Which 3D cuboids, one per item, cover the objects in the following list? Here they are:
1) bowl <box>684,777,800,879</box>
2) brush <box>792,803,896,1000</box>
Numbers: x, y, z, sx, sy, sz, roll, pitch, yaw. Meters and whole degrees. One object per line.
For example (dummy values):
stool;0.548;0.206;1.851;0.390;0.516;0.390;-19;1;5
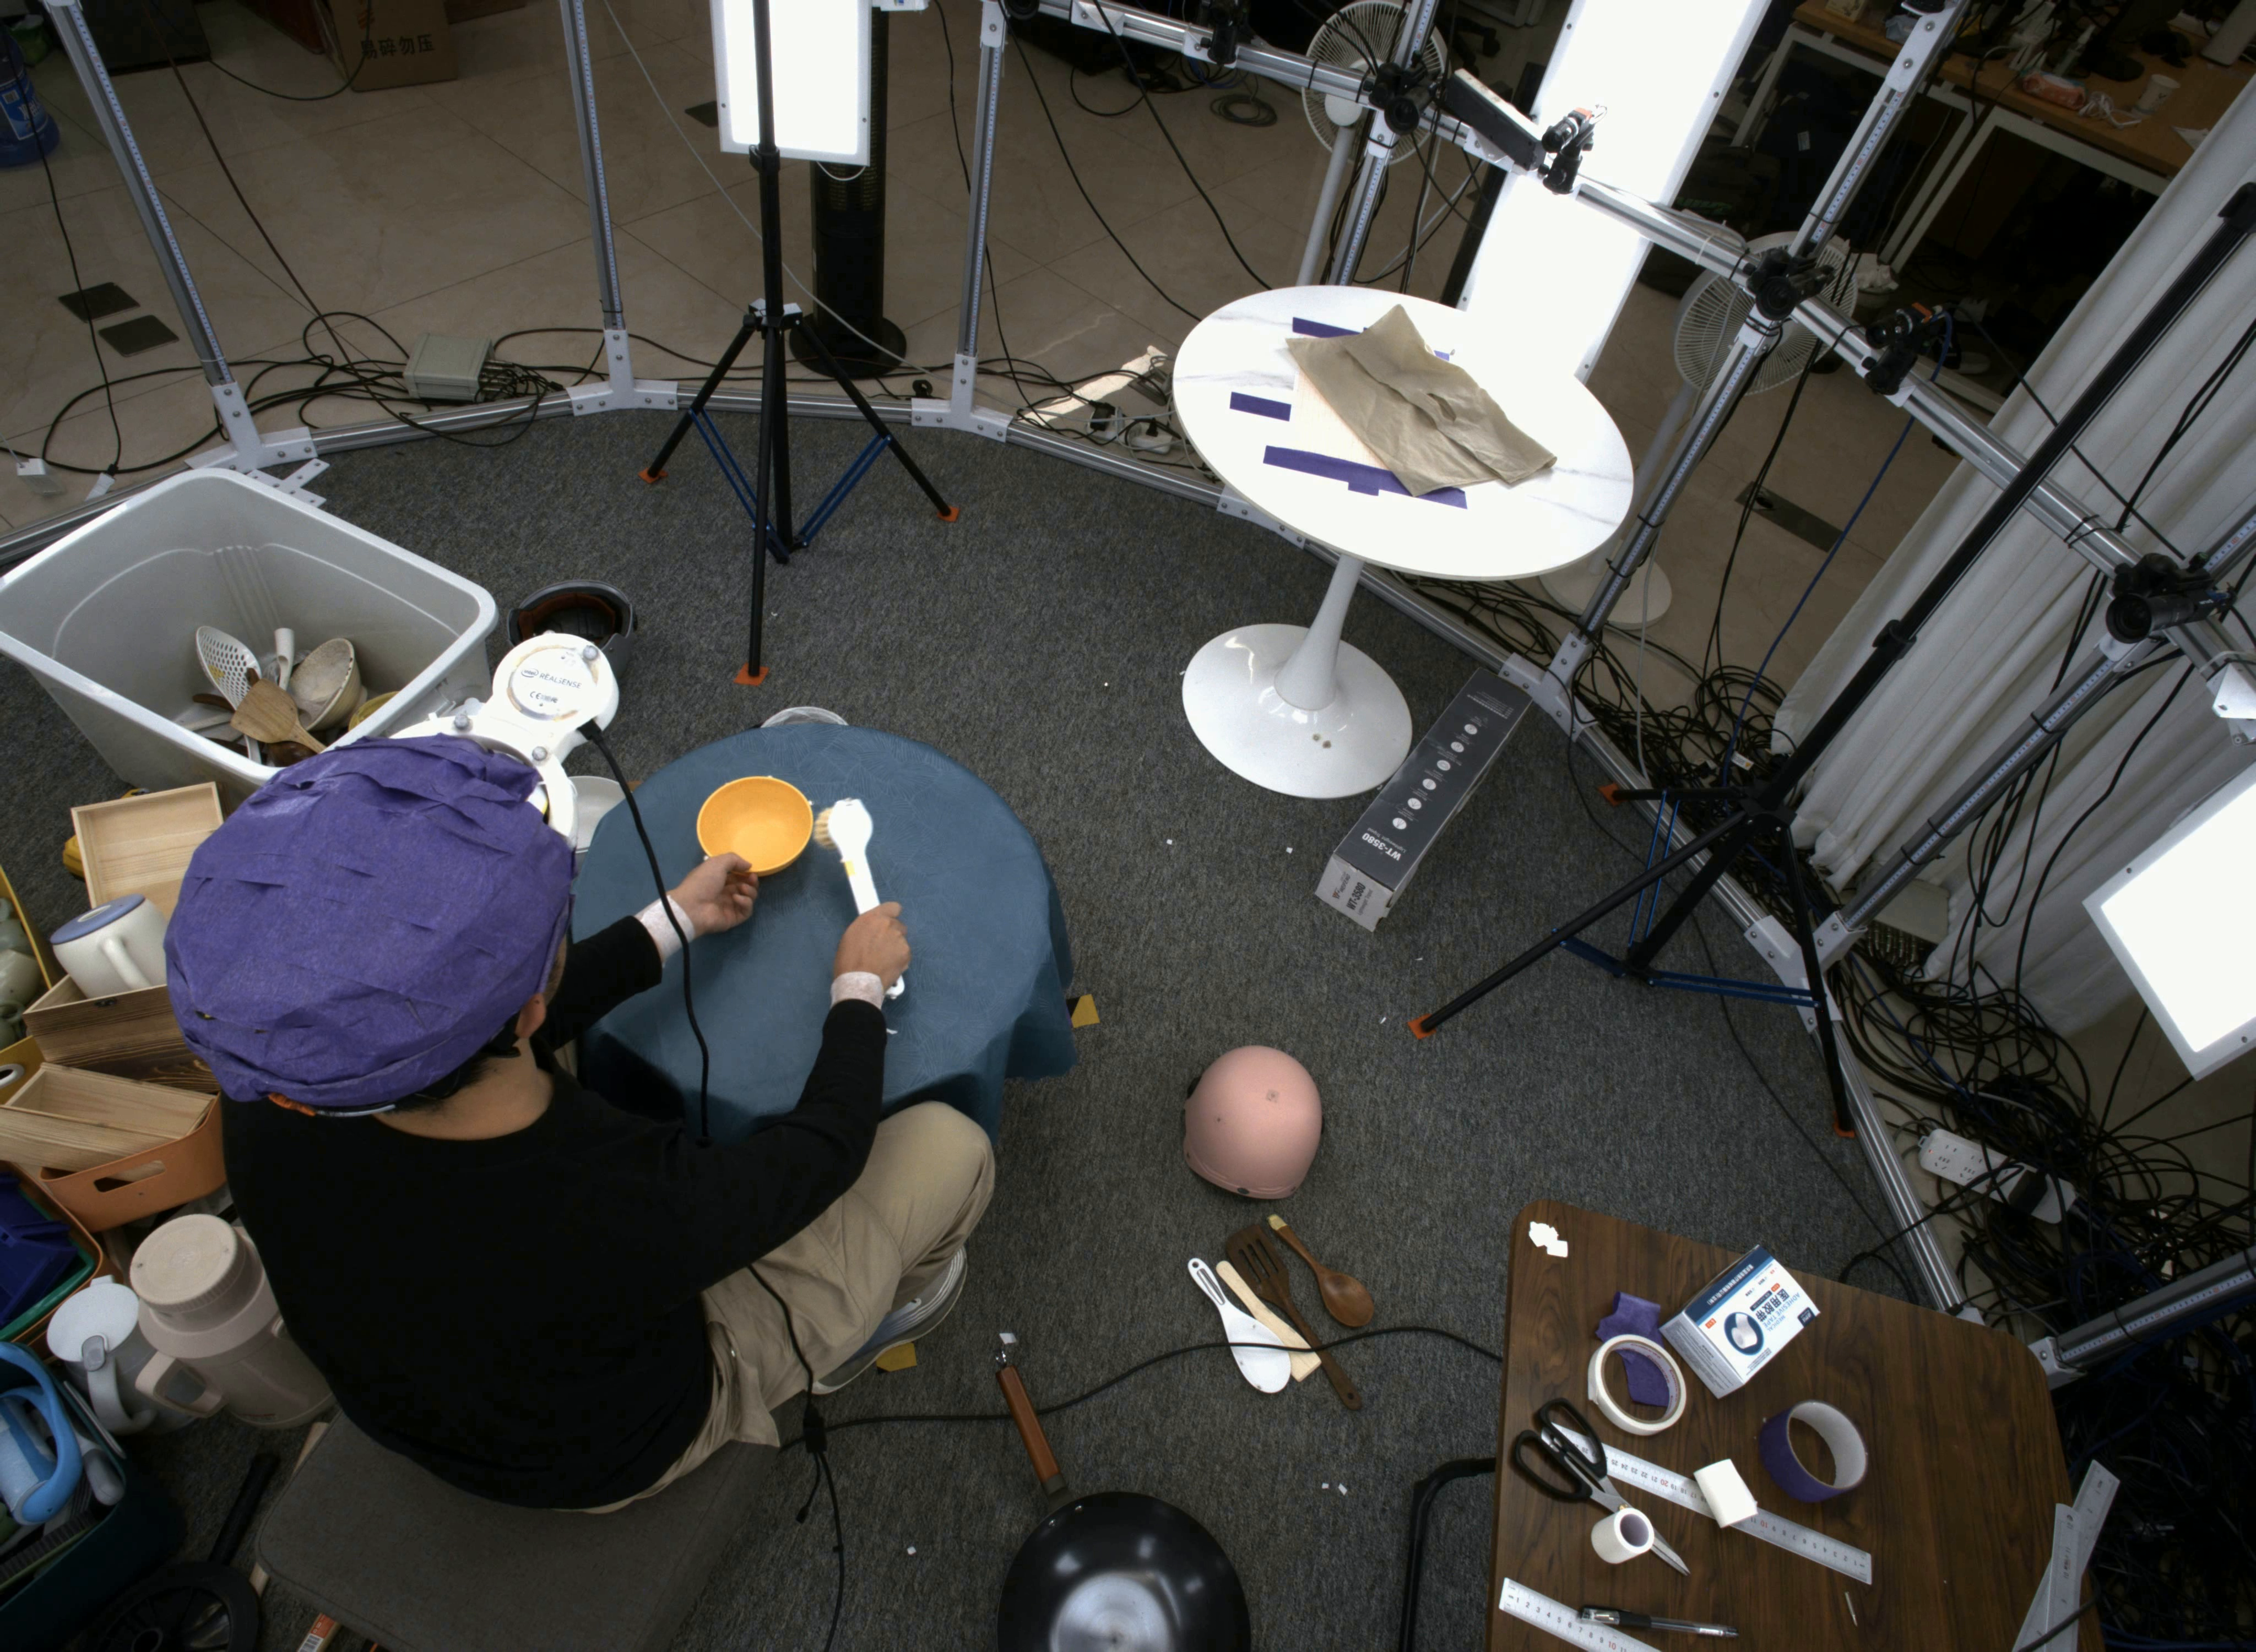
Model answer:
bowl;-0.489;0.012;1.649;0.145;0.061;0.143;5;58;-7
brush;-0.347;0.095;1.602;0.069;0.056;0.265;-14;76;-34
